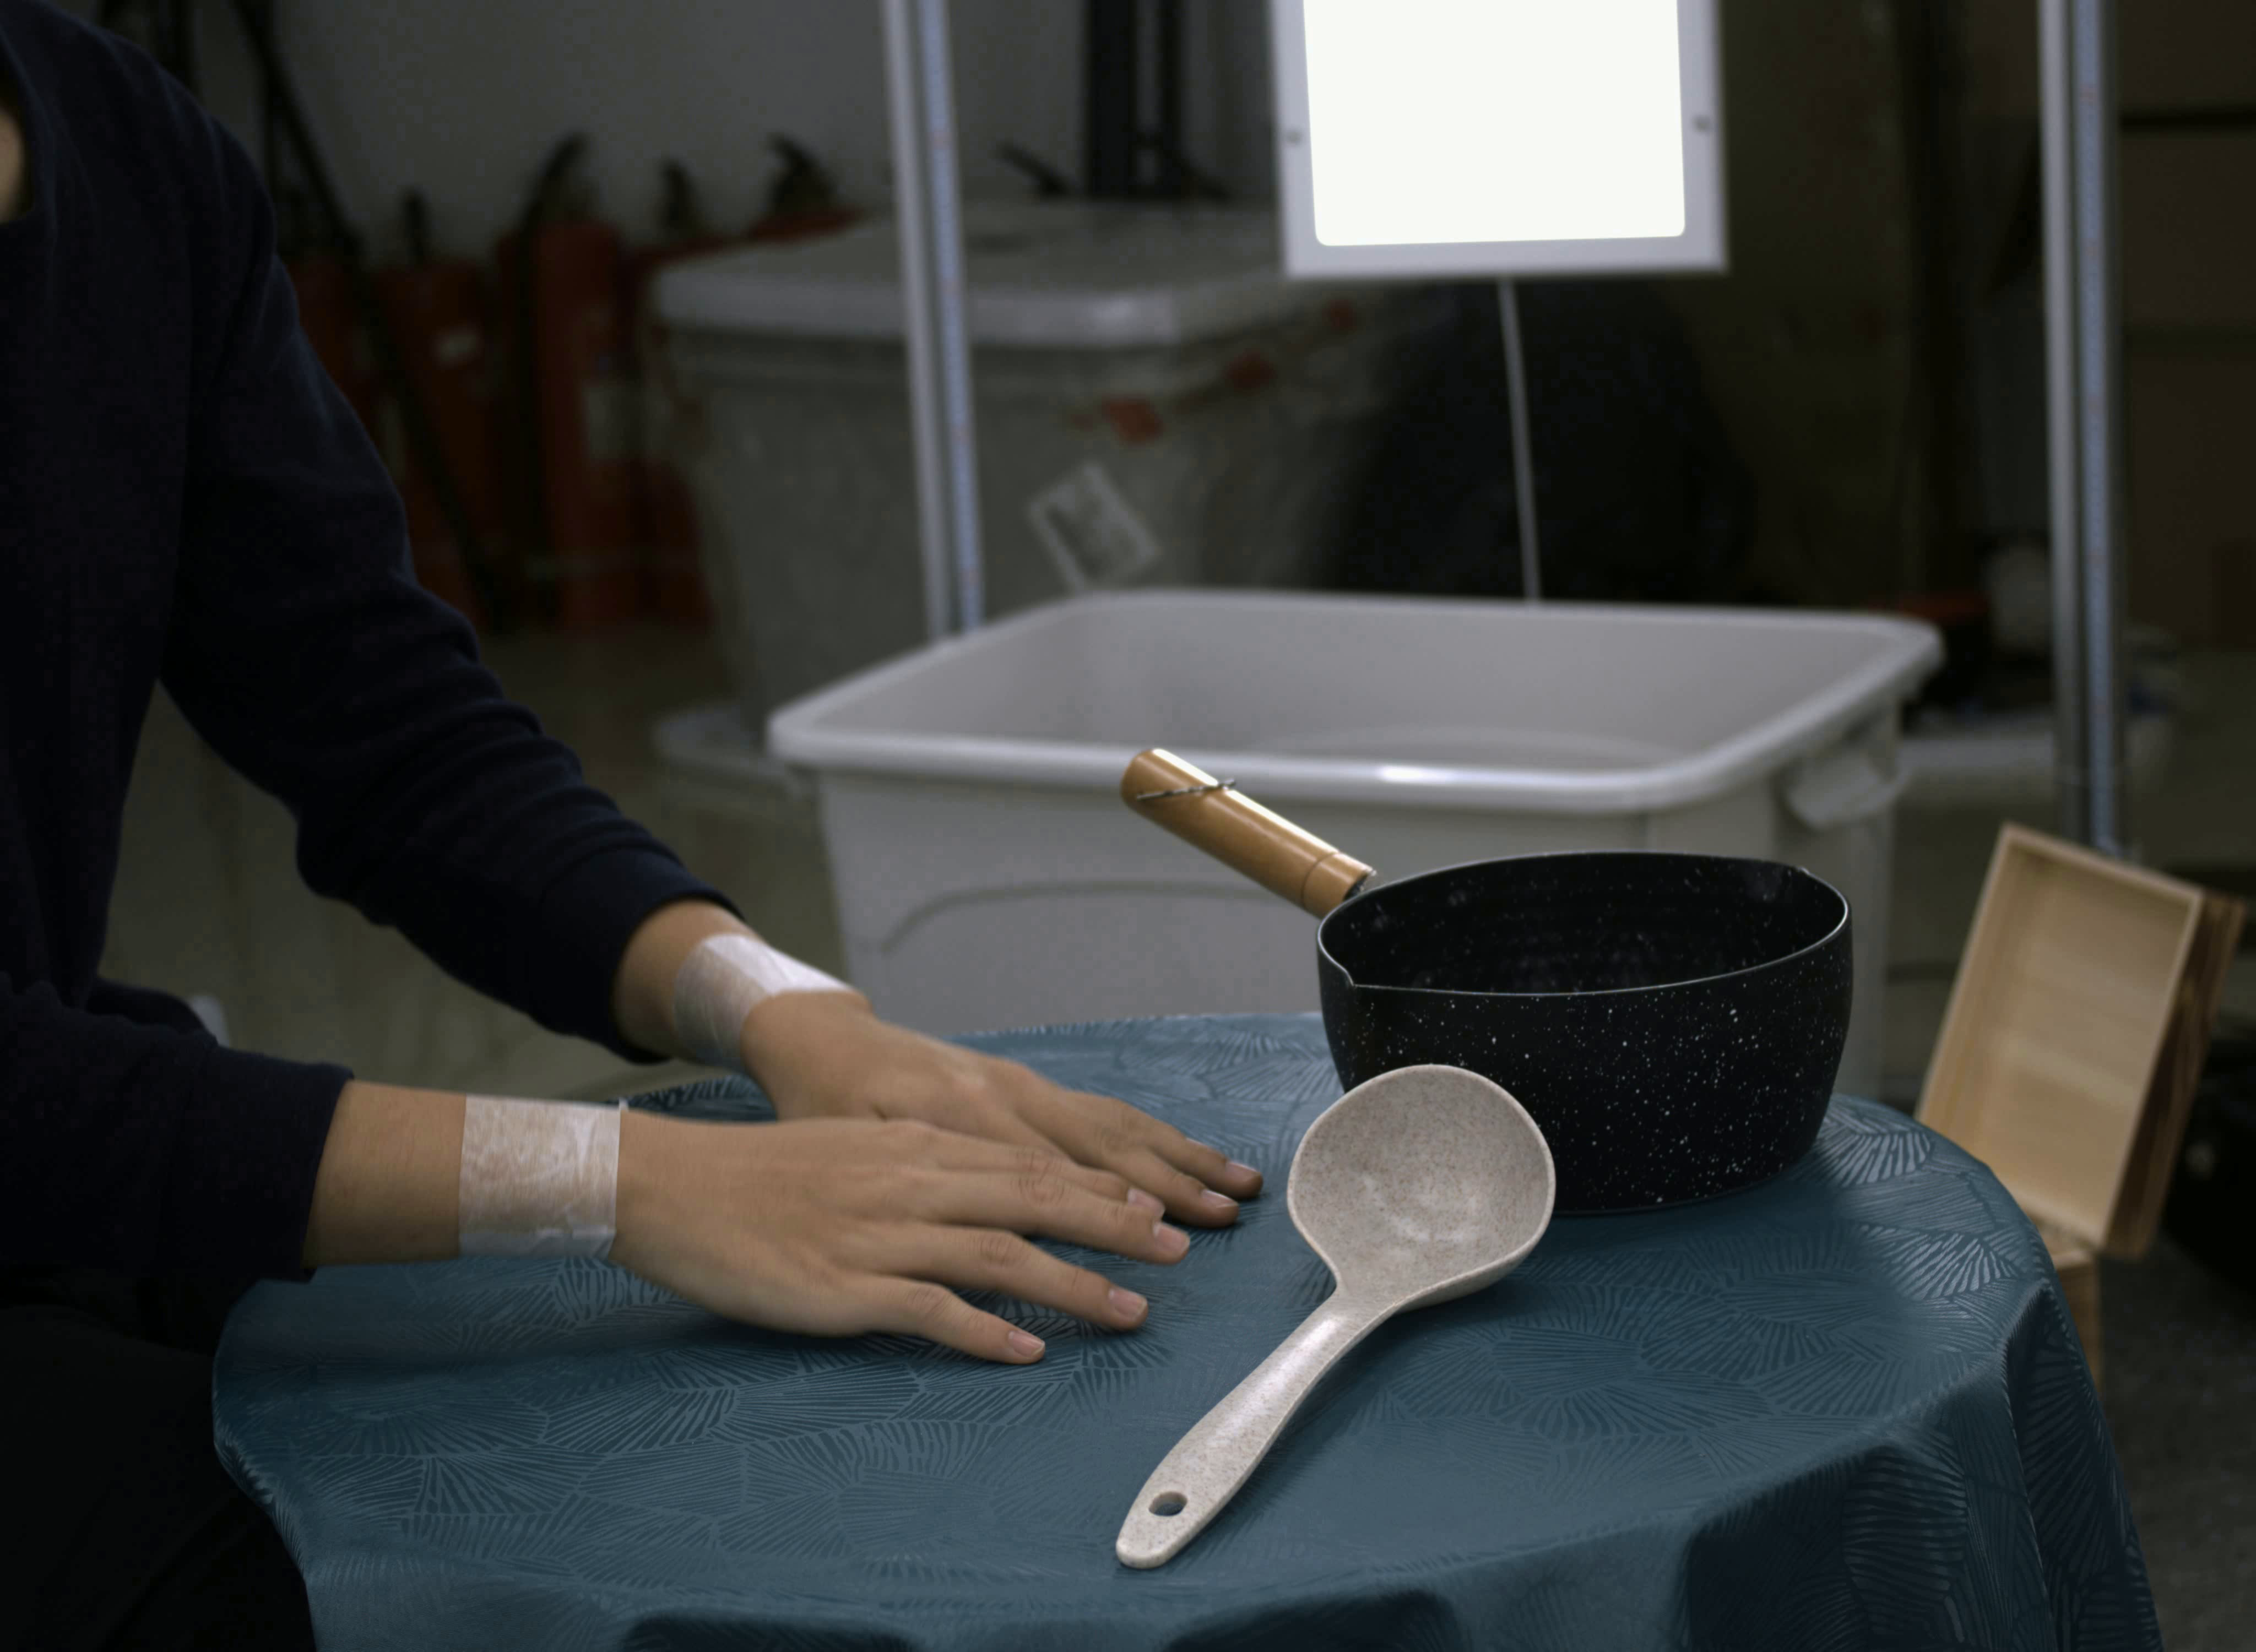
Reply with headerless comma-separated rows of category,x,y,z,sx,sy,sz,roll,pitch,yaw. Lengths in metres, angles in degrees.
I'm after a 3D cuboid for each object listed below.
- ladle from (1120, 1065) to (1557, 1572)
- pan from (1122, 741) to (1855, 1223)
ladle,0.055,0.144,1.666,0.090,0.070,0.269,12,19,19
pan,0.109,0.049,1.946,0.202,0.108,0.350,-16,19,-35
